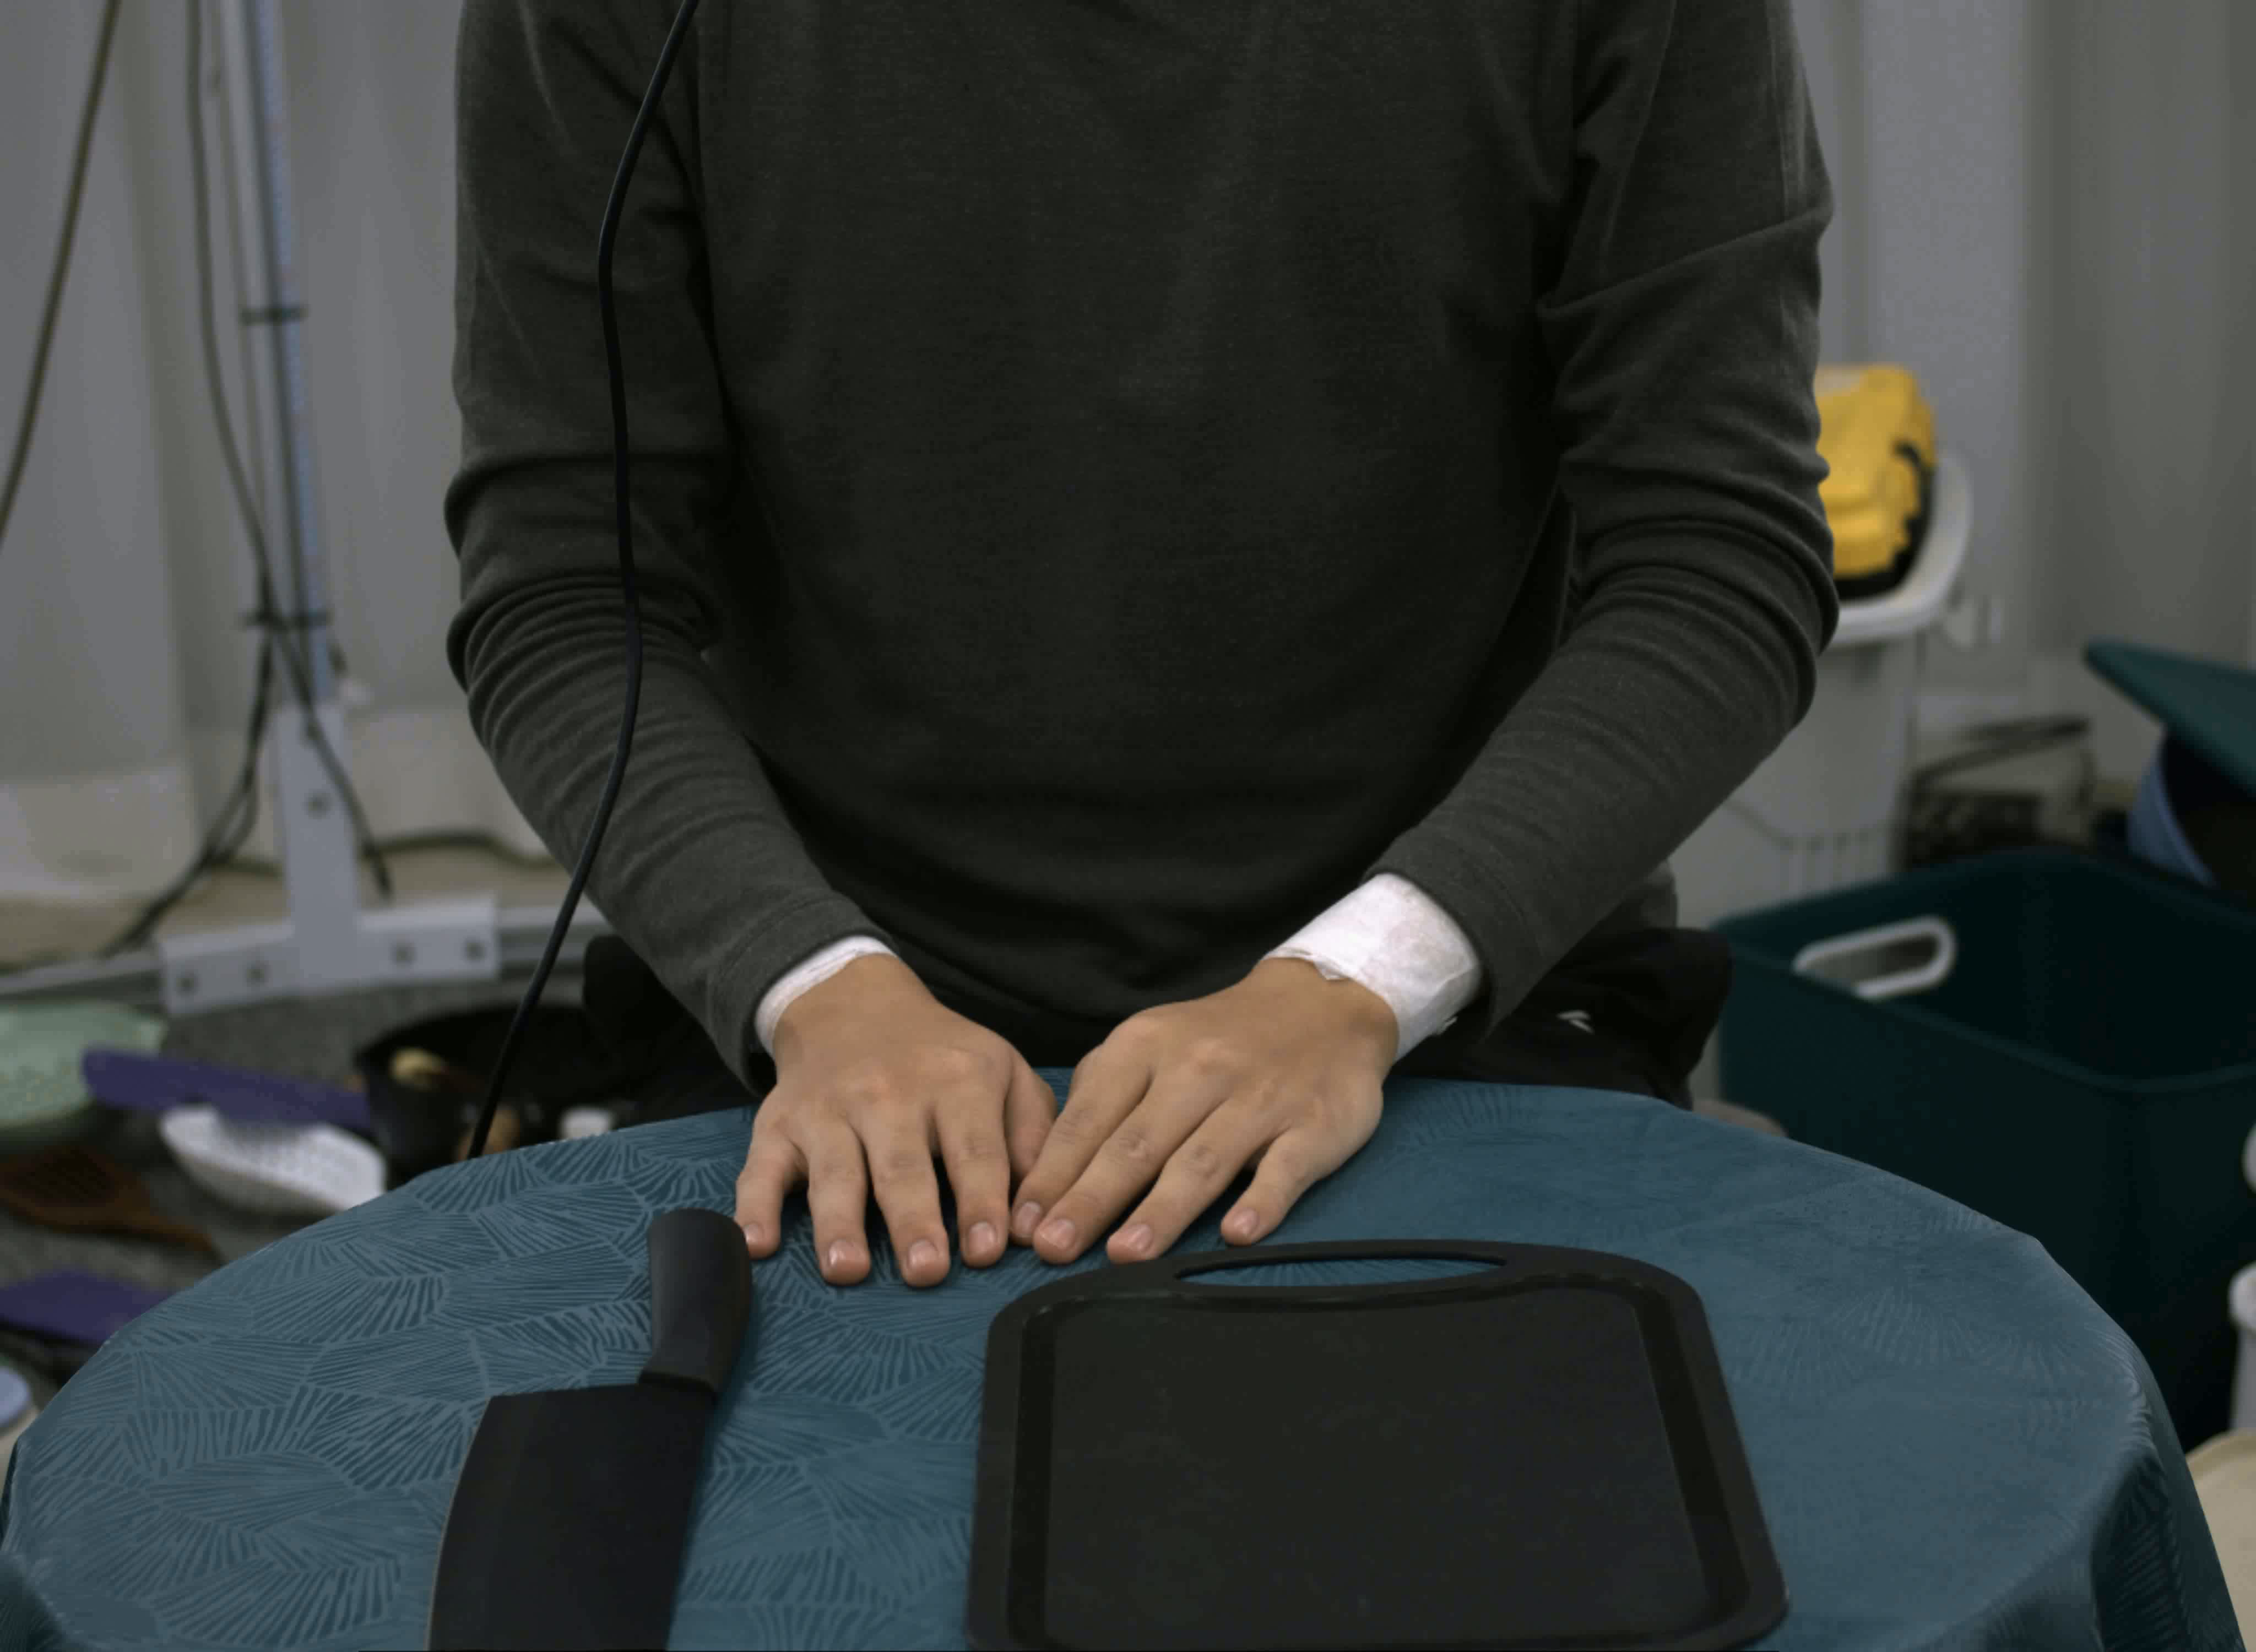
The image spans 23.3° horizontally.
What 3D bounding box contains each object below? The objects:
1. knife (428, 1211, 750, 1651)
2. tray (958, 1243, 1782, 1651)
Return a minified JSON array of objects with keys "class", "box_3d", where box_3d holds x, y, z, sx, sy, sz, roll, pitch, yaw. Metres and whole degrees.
[{"class":"knife","box_3d":[-0.145,0.168,1.517,0.081,0.021,0.304,-2,16,5]},{"class":"tray","box_3d":[0.062,0.167,1.495,0.210,0.010,0.327,-2,14,2]}]
